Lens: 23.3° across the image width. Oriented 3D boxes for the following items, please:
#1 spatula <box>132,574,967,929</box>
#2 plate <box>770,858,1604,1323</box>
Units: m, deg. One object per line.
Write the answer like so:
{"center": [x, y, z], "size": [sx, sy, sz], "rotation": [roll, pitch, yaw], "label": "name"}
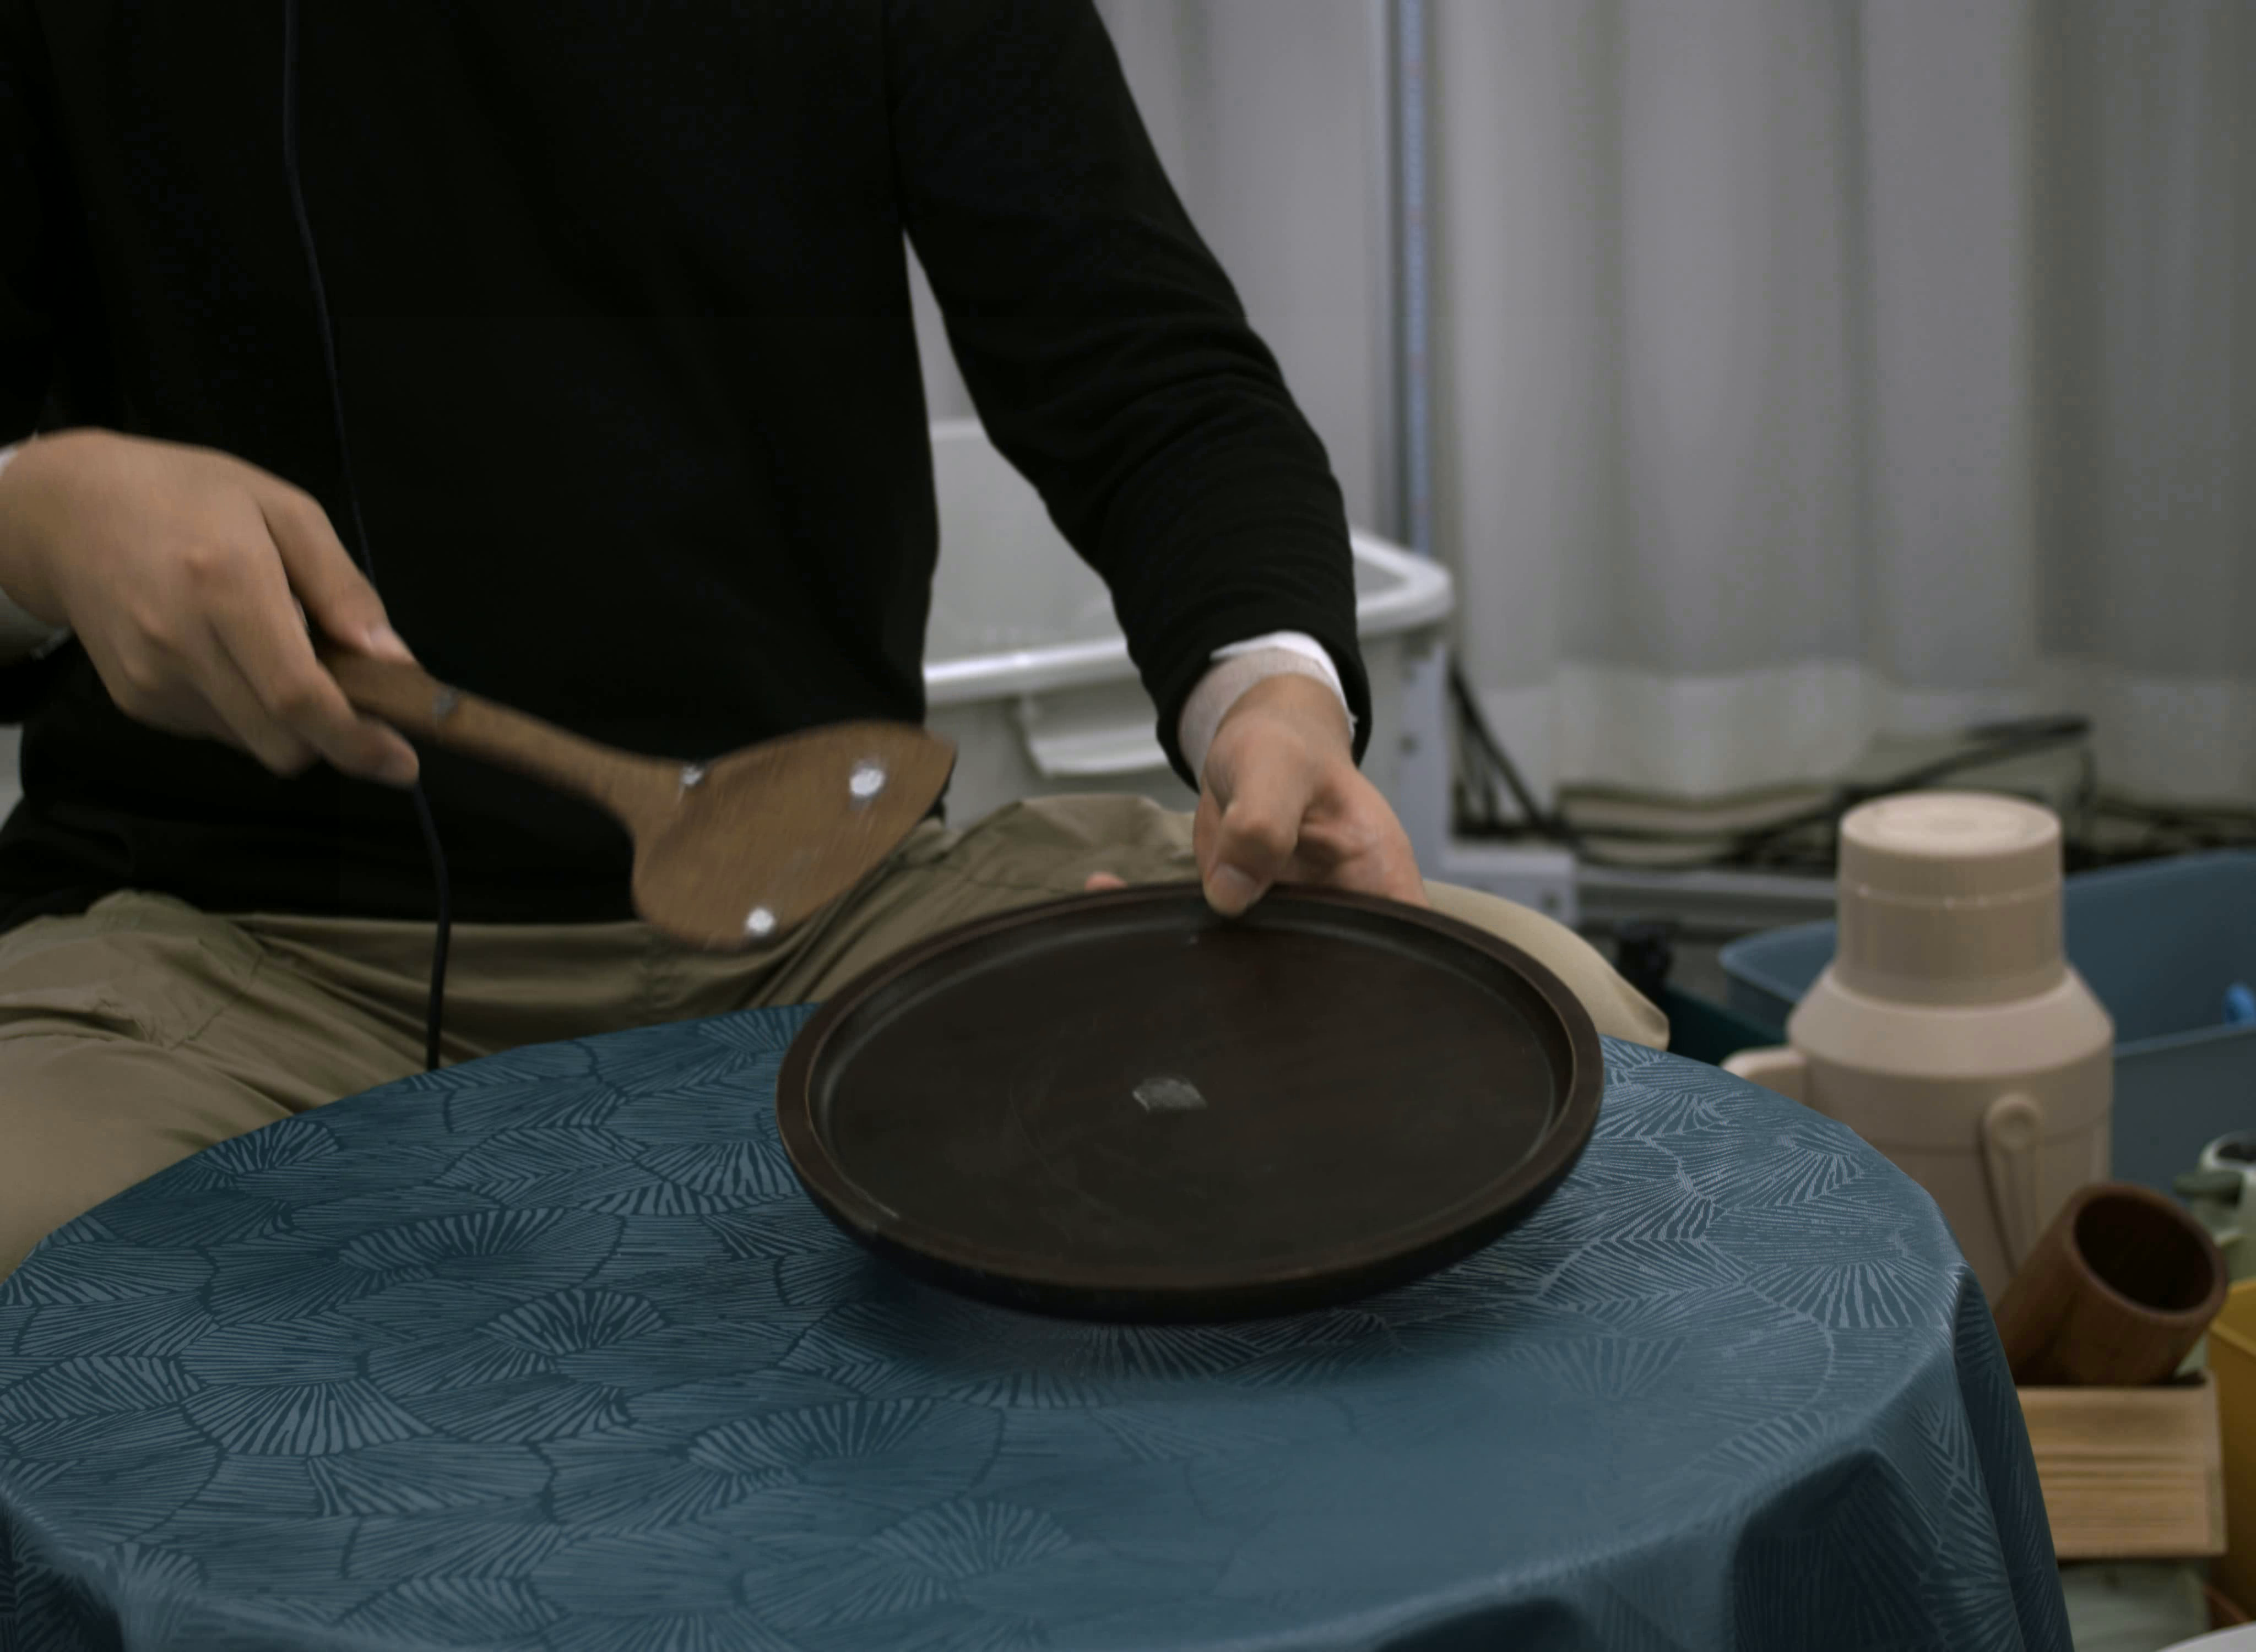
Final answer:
{"center": [-0.193, -0.034, 1.657], "size": [0.388, 0.015, 0.096], "rotation": [17, 53, 46], "label": "spatula"}
{"center": [0.018, 0.080, 1.656], "size": [0.254, 0.029, 0.258], "rotation": [-3, 27, 1], "label": "plate"}
